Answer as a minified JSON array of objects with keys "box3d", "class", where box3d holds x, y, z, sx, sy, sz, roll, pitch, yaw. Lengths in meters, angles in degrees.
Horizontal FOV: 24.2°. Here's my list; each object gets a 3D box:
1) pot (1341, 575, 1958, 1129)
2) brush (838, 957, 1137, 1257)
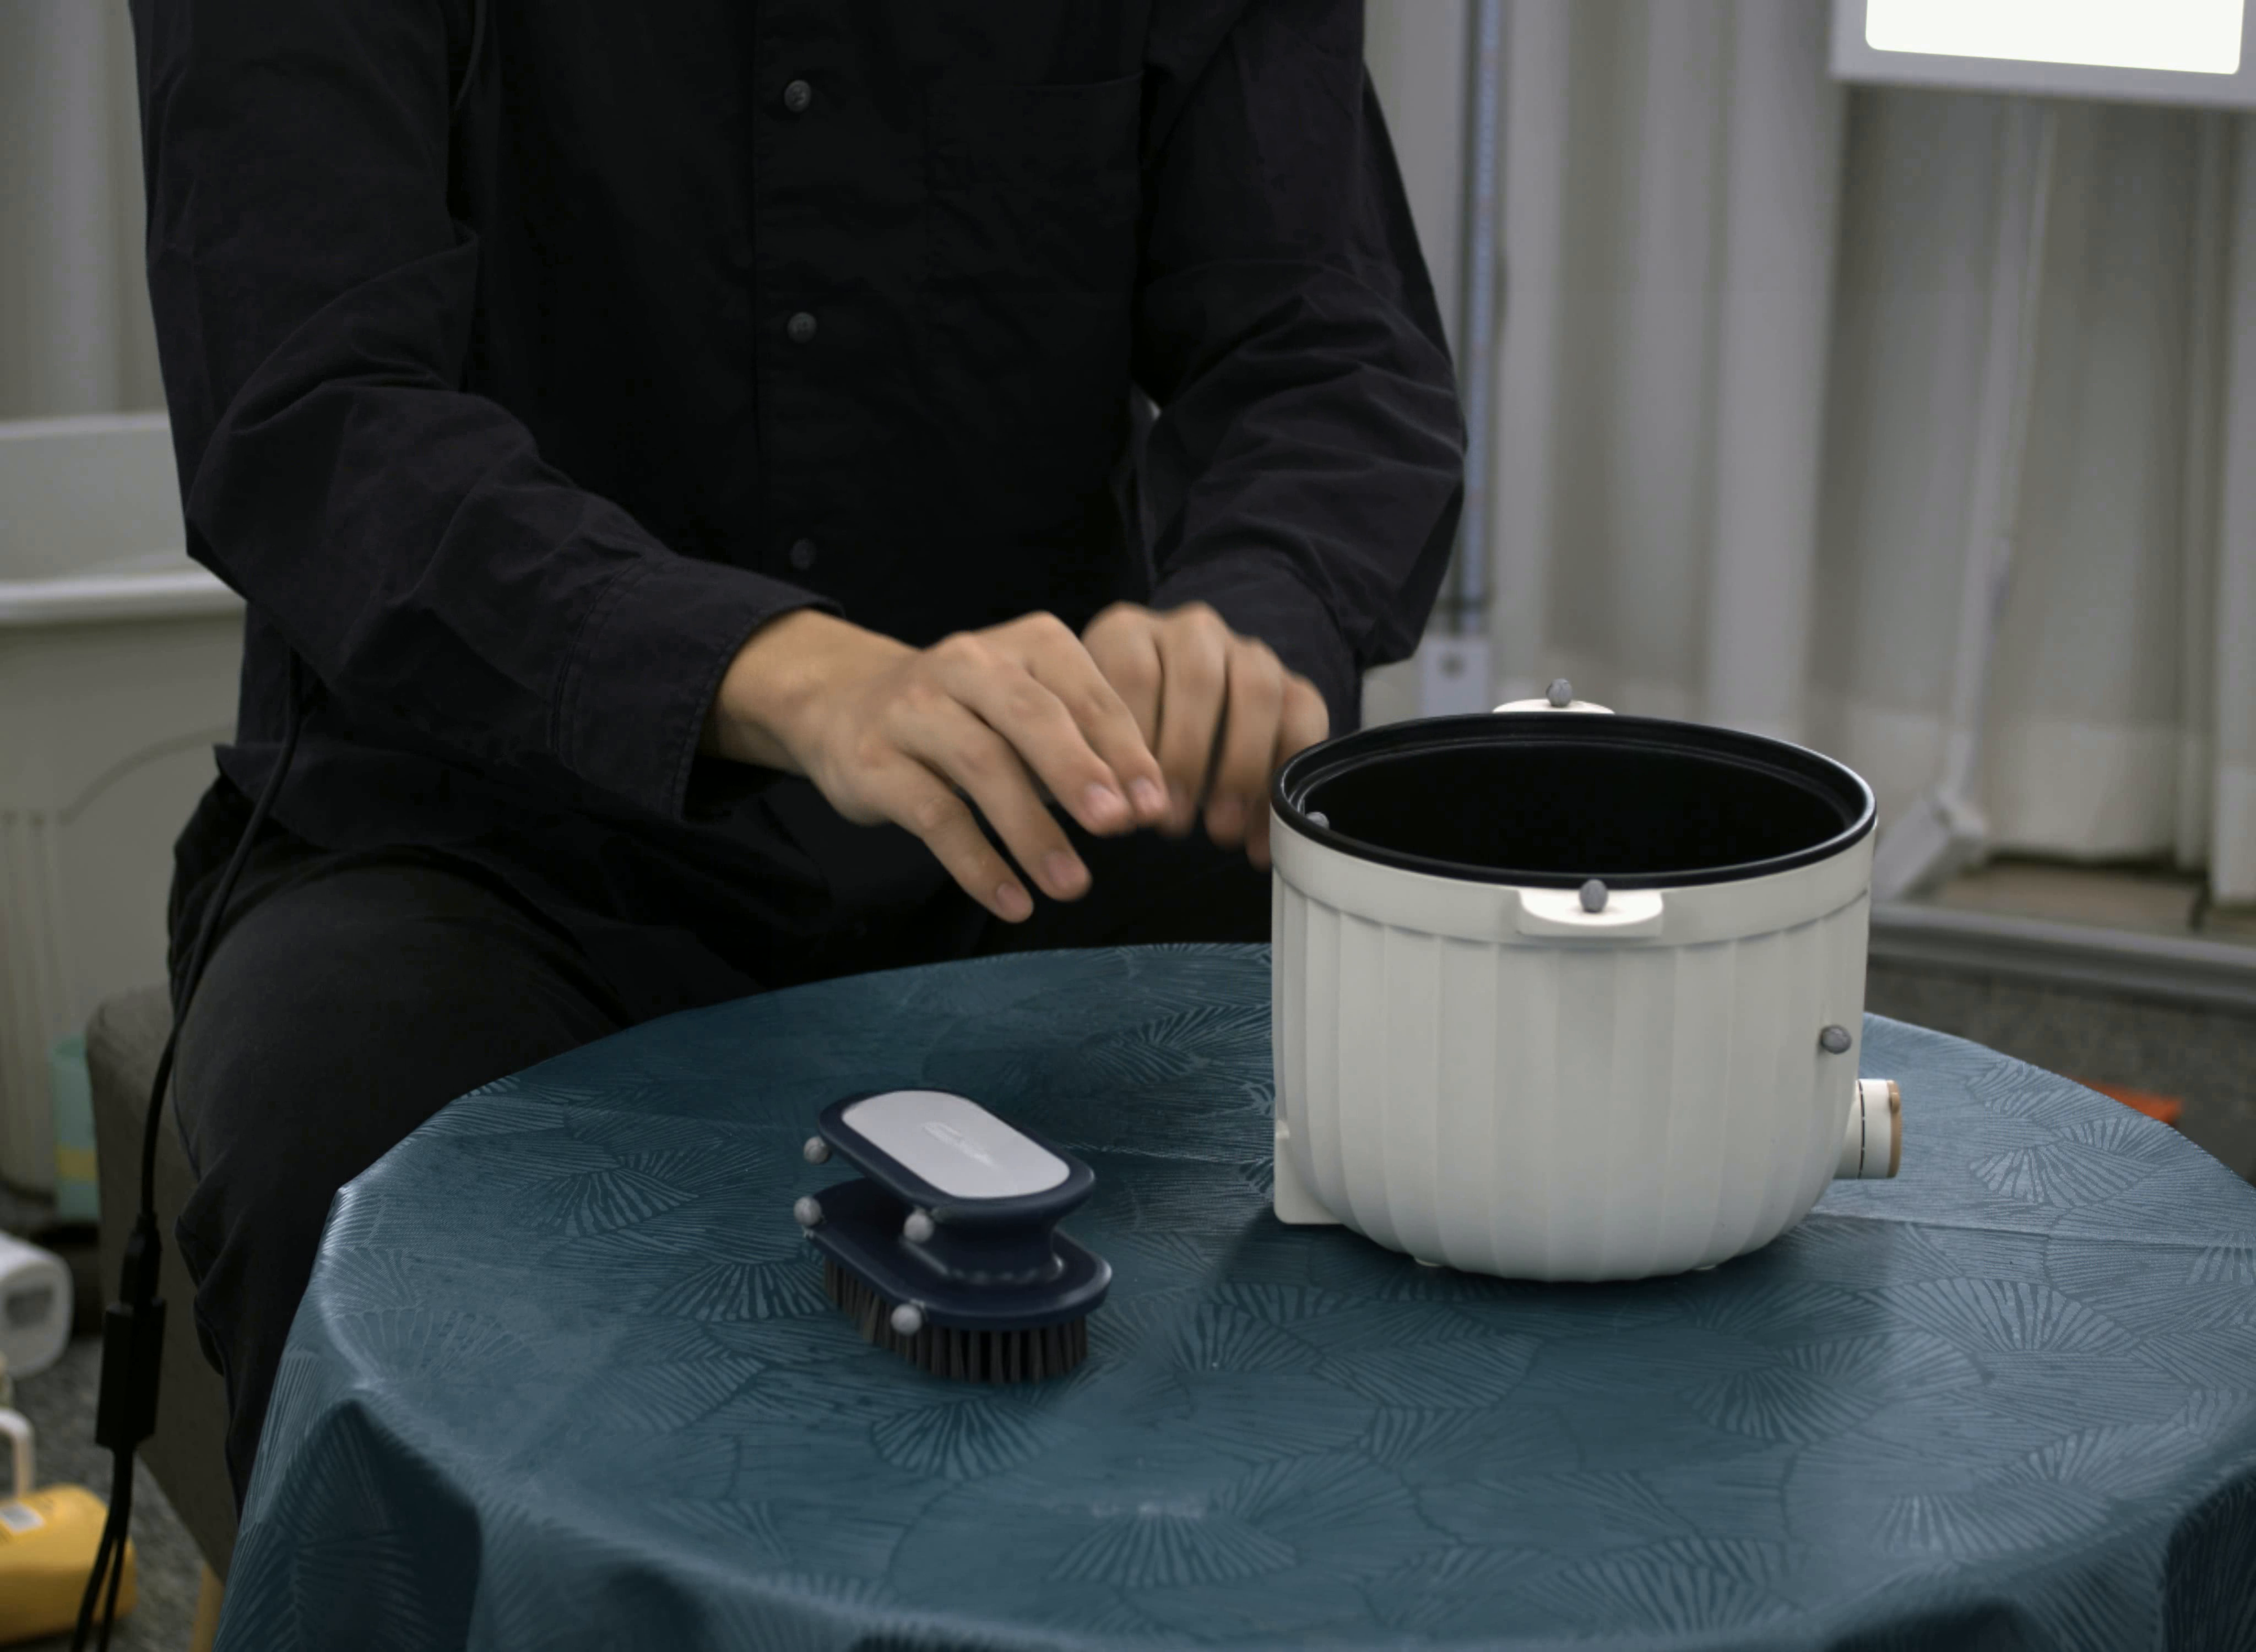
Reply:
[{"box3d":[0.161,0.010,1.632,0.190,0.144,0.239,-2,17,1],"class":"pot"},{"box3d":[-0.042,0.084,1.549,0.068,0.062,0.120,-10,22,-22],"class":"brush"}]
